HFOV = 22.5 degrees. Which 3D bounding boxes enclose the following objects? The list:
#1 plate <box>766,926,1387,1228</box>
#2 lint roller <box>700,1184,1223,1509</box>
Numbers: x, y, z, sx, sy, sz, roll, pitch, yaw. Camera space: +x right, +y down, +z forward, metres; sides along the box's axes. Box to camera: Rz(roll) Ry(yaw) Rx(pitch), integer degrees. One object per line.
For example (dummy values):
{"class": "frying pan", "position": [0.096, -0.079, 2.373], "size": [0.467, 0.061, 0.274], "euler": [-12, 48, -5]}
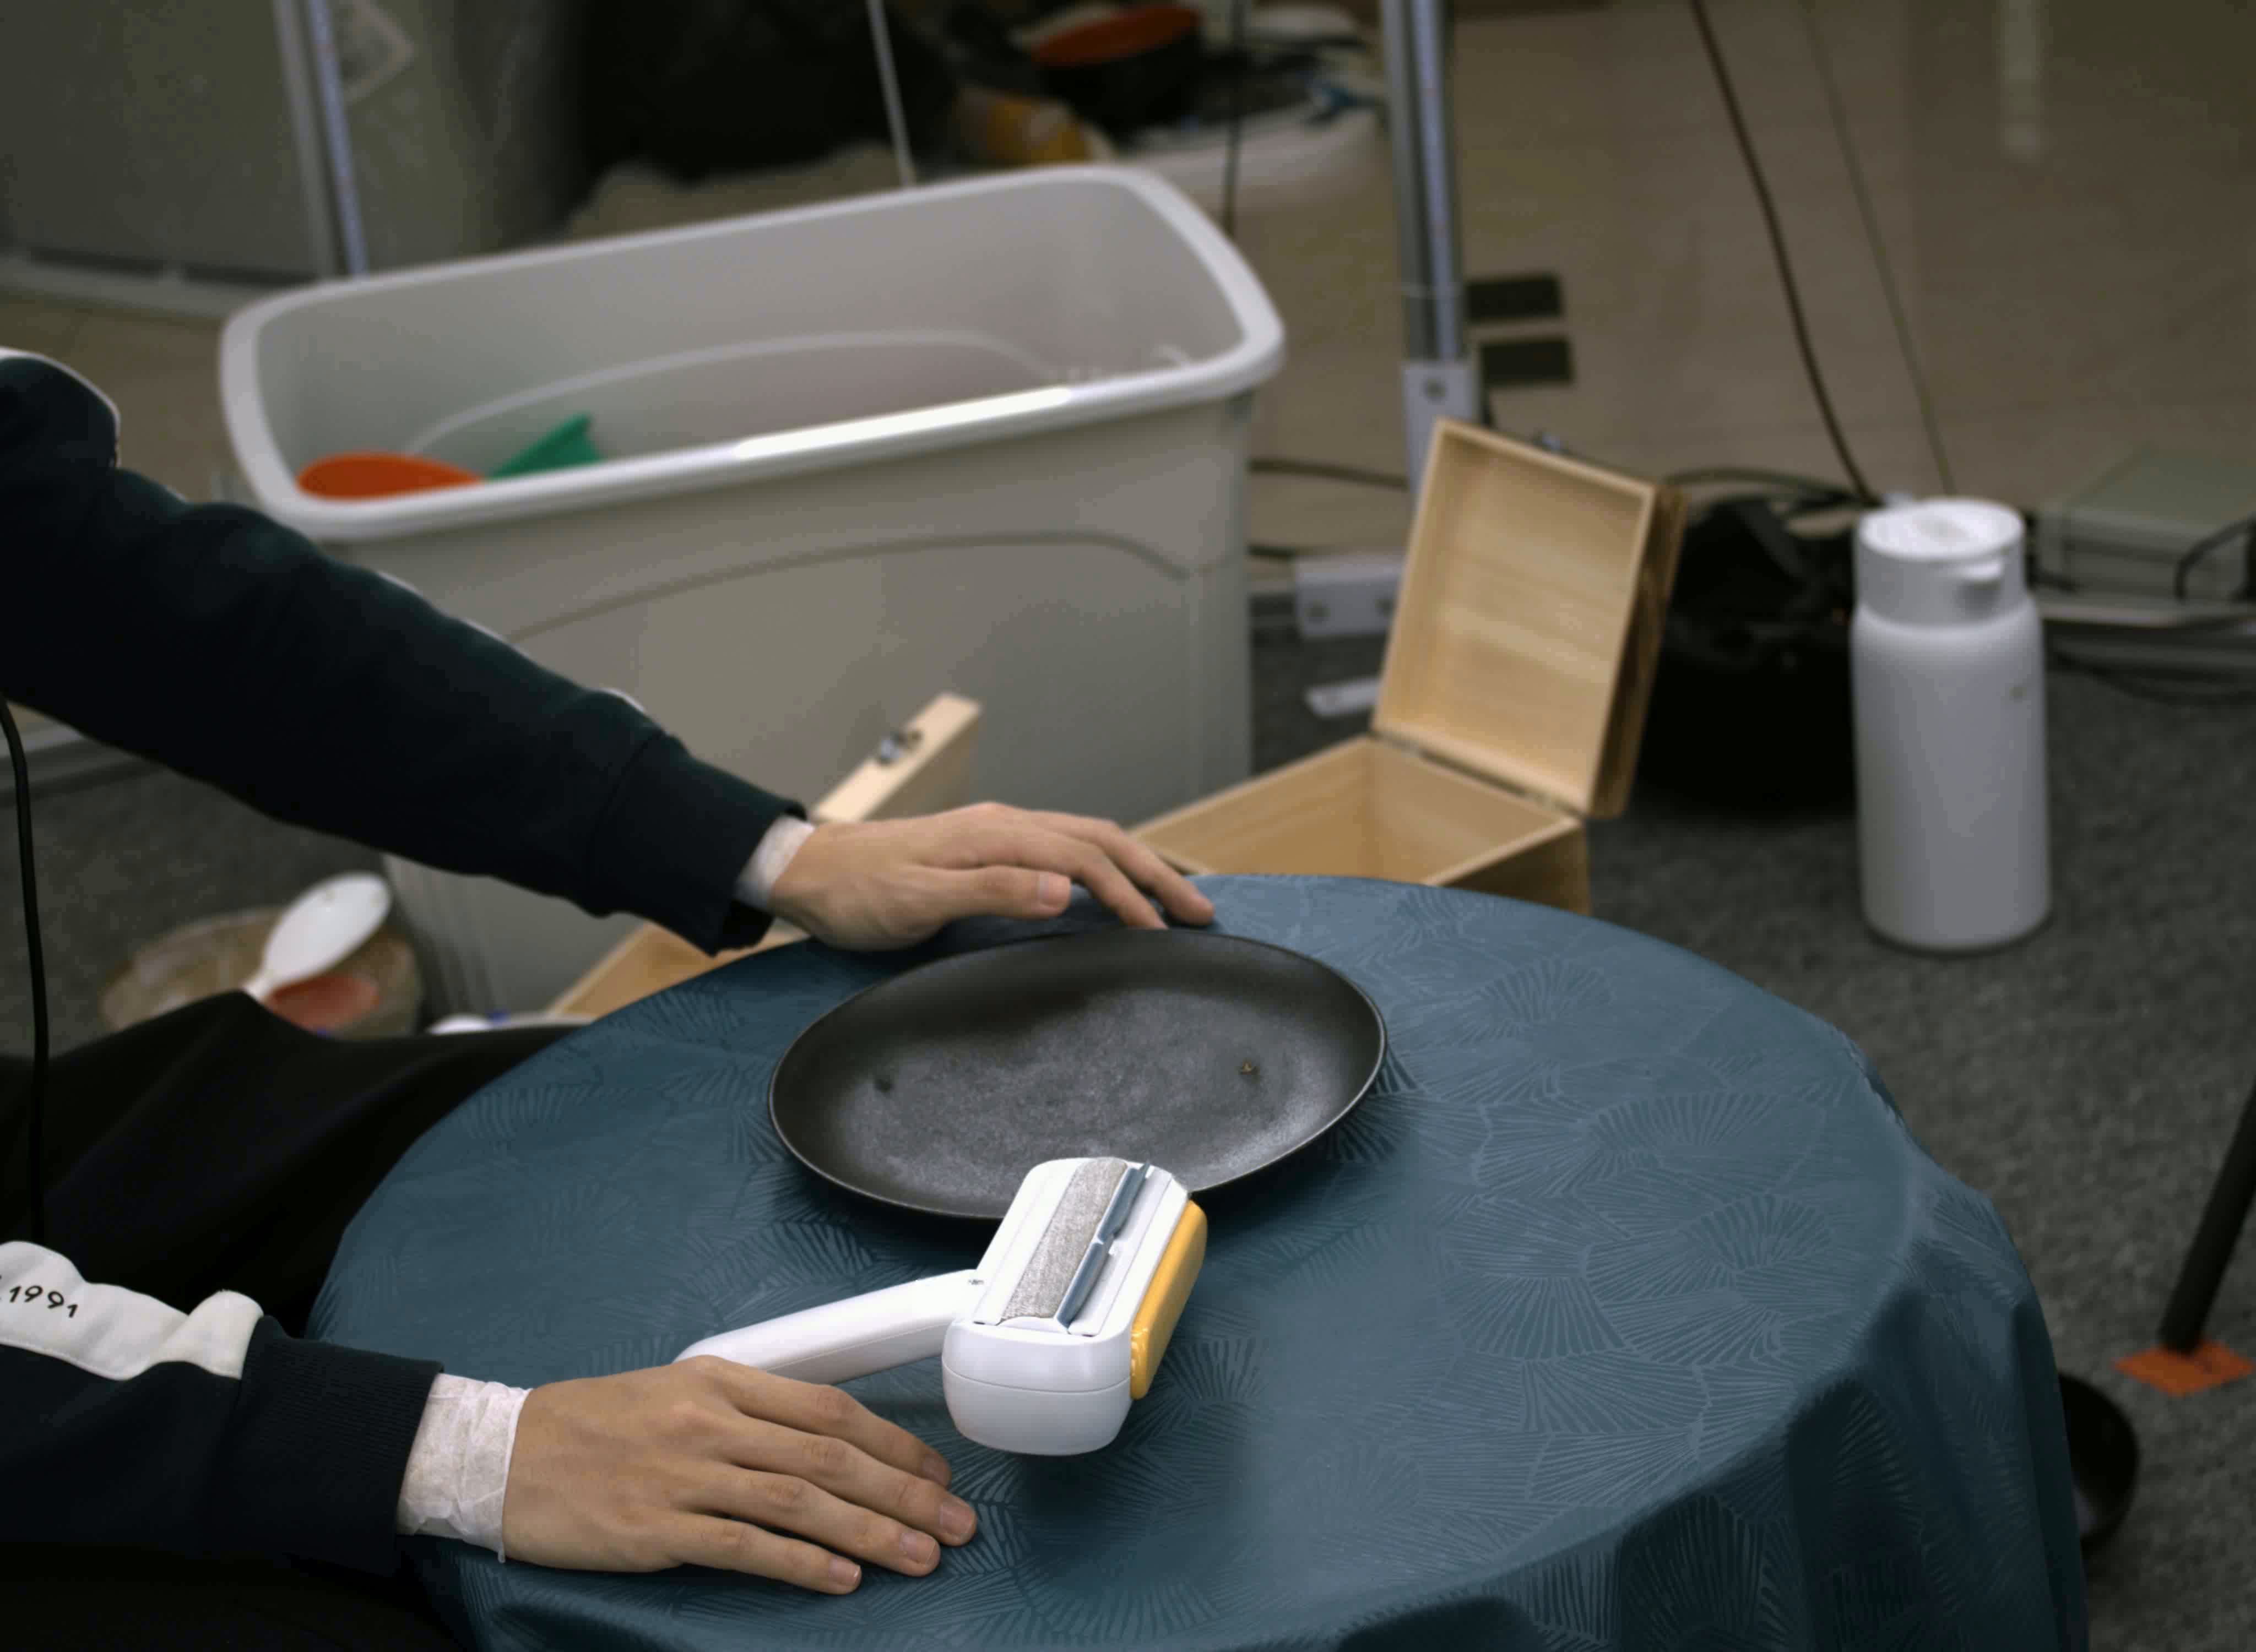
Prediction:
{"class": "plate", "position": [-0.019, 0.102, 2.201], "size": [0.244, 0.024, 0.241], "euler": [-5, 25, 3]}
{"class": "lint roller", "position": [-0.071, 0.194, 2.008], "size": [0.192, 0.075, 0.190], "euler": [-14, 15, 20]}
